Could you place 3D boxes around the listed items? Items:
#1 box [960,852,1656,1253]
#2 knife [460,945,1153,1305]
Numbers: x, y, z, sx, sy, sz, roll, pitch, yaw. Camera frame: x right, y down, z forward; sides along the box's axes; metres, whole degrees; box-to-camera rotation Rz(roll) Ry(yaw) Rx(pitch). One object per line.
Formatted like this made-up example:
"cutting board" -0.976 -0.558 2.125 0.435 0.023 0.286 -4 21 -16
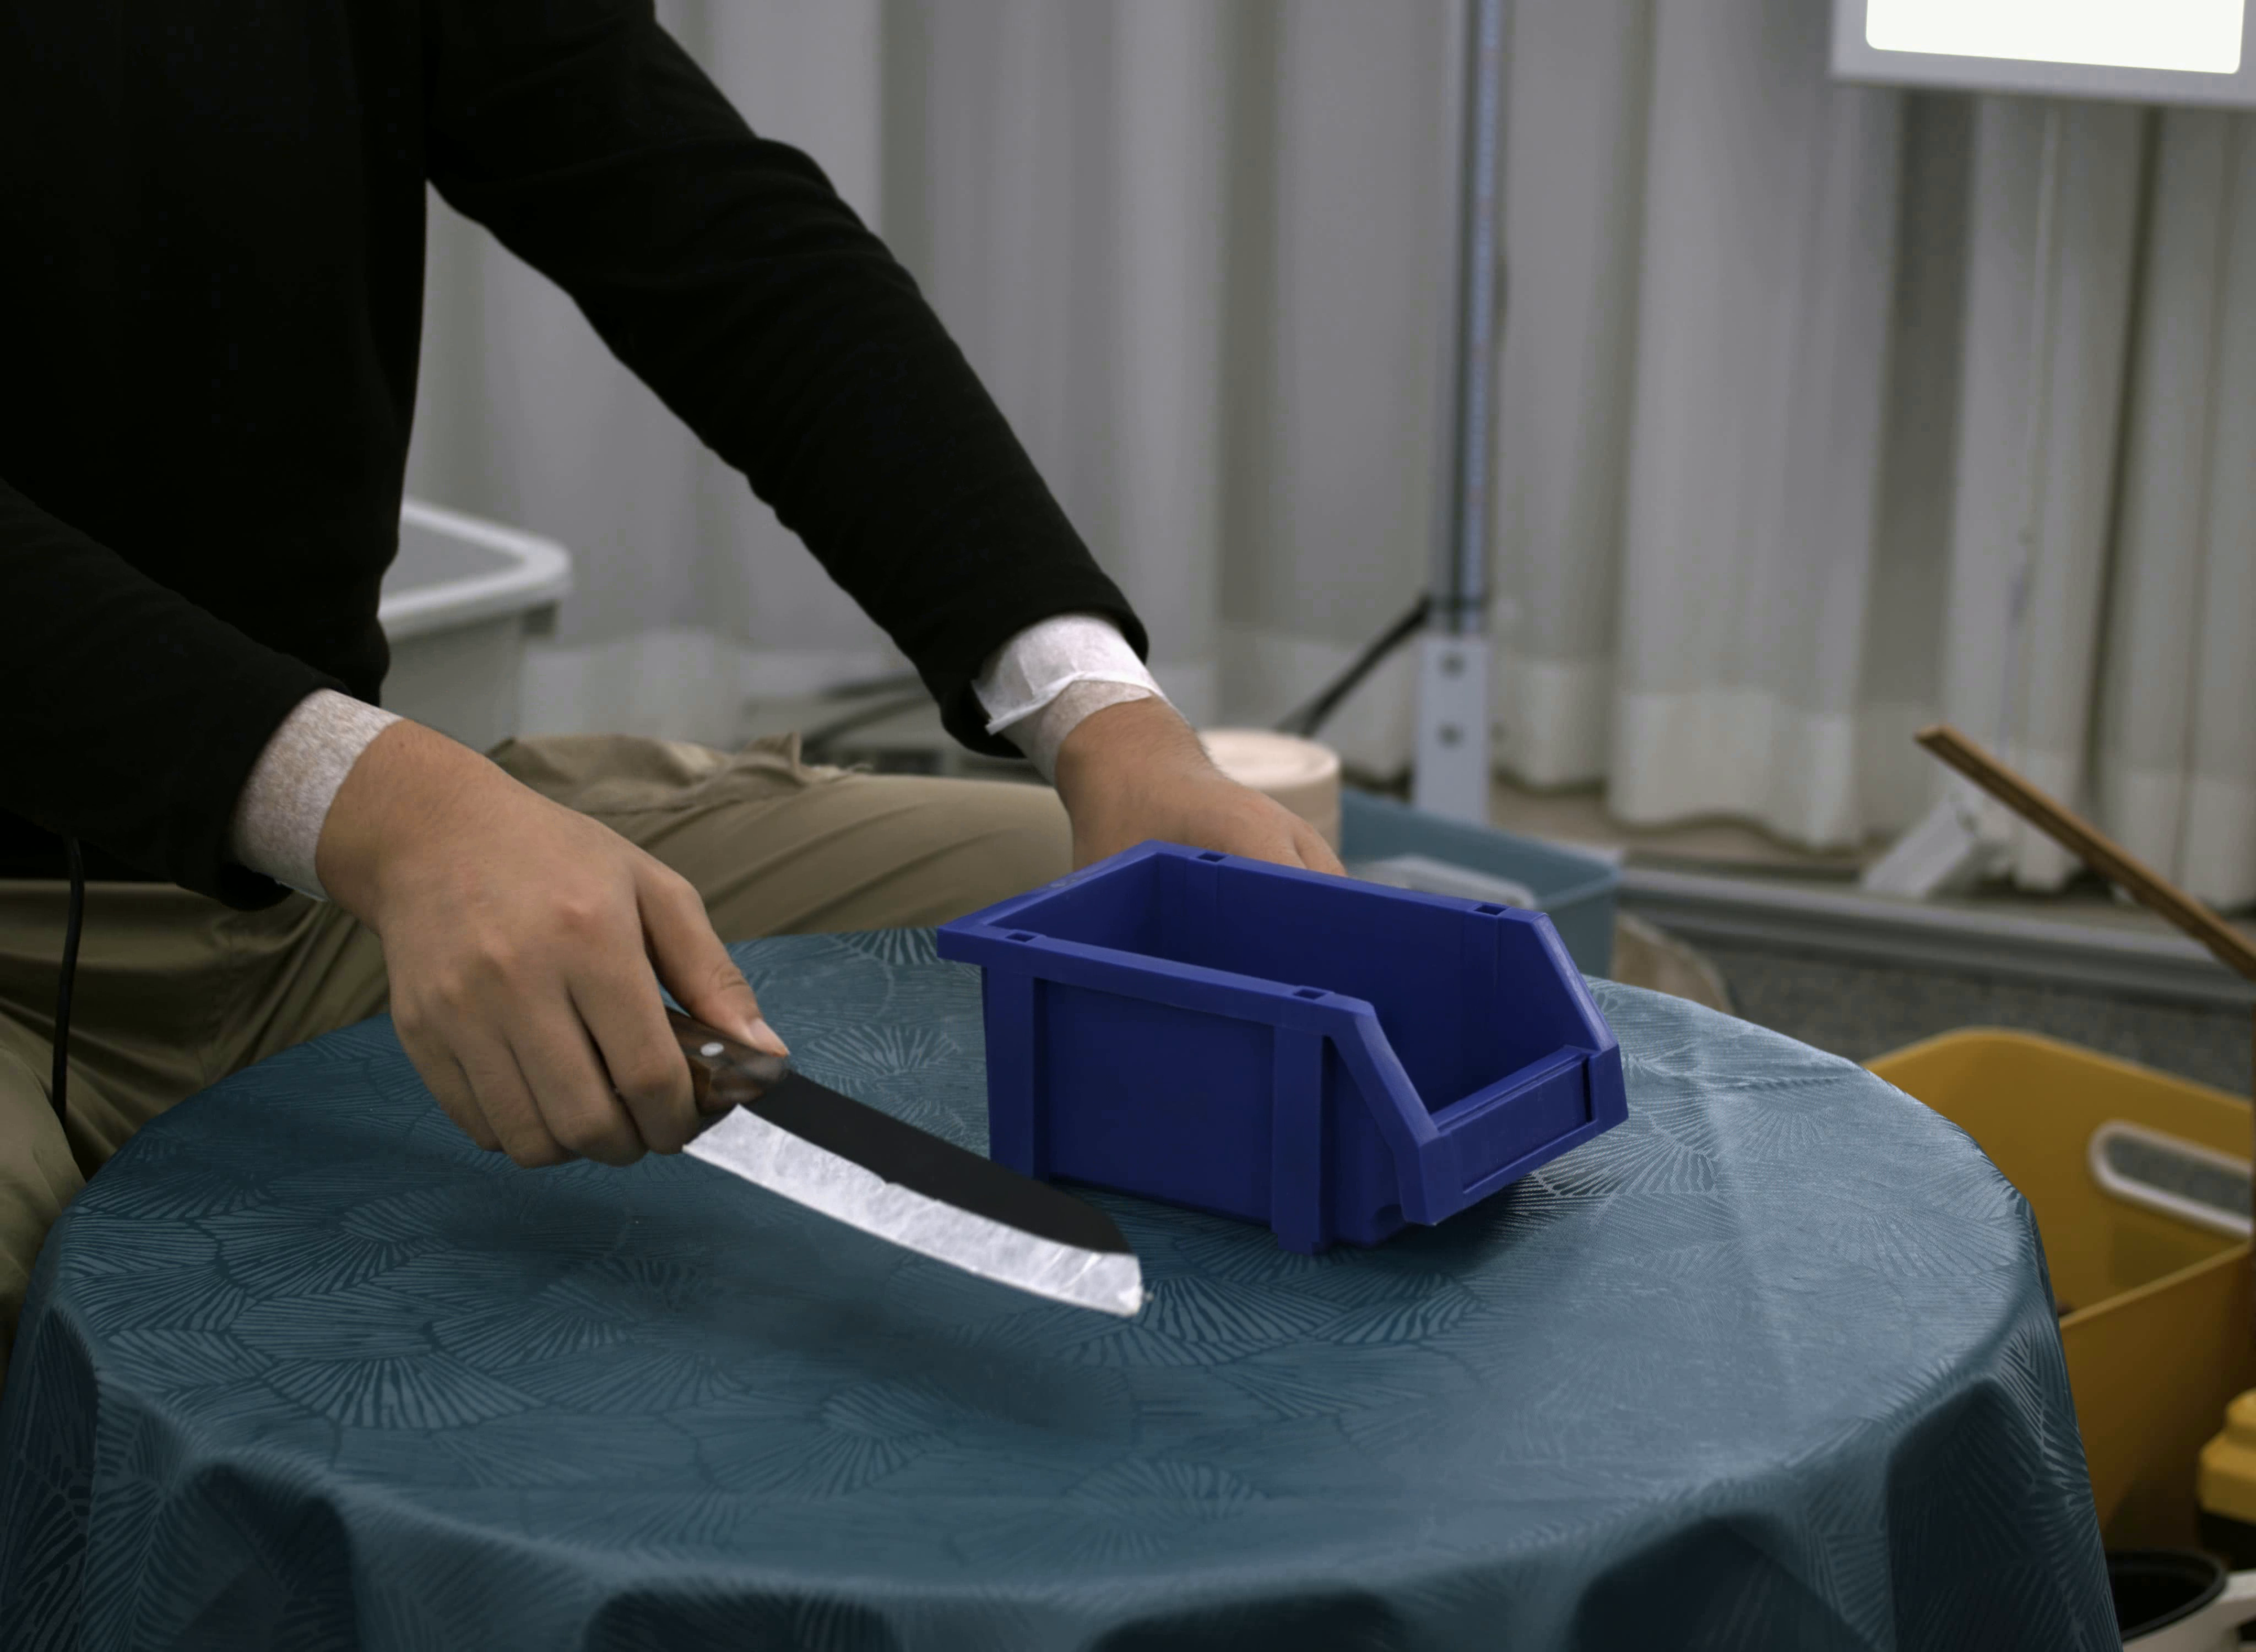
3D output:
"box" 0.057 0.069 1.624 0.177 0.082 0.125 8 17 34
"knife" -0.096 0.085 1.508 0.285 0.020 0.050 22 46 39
